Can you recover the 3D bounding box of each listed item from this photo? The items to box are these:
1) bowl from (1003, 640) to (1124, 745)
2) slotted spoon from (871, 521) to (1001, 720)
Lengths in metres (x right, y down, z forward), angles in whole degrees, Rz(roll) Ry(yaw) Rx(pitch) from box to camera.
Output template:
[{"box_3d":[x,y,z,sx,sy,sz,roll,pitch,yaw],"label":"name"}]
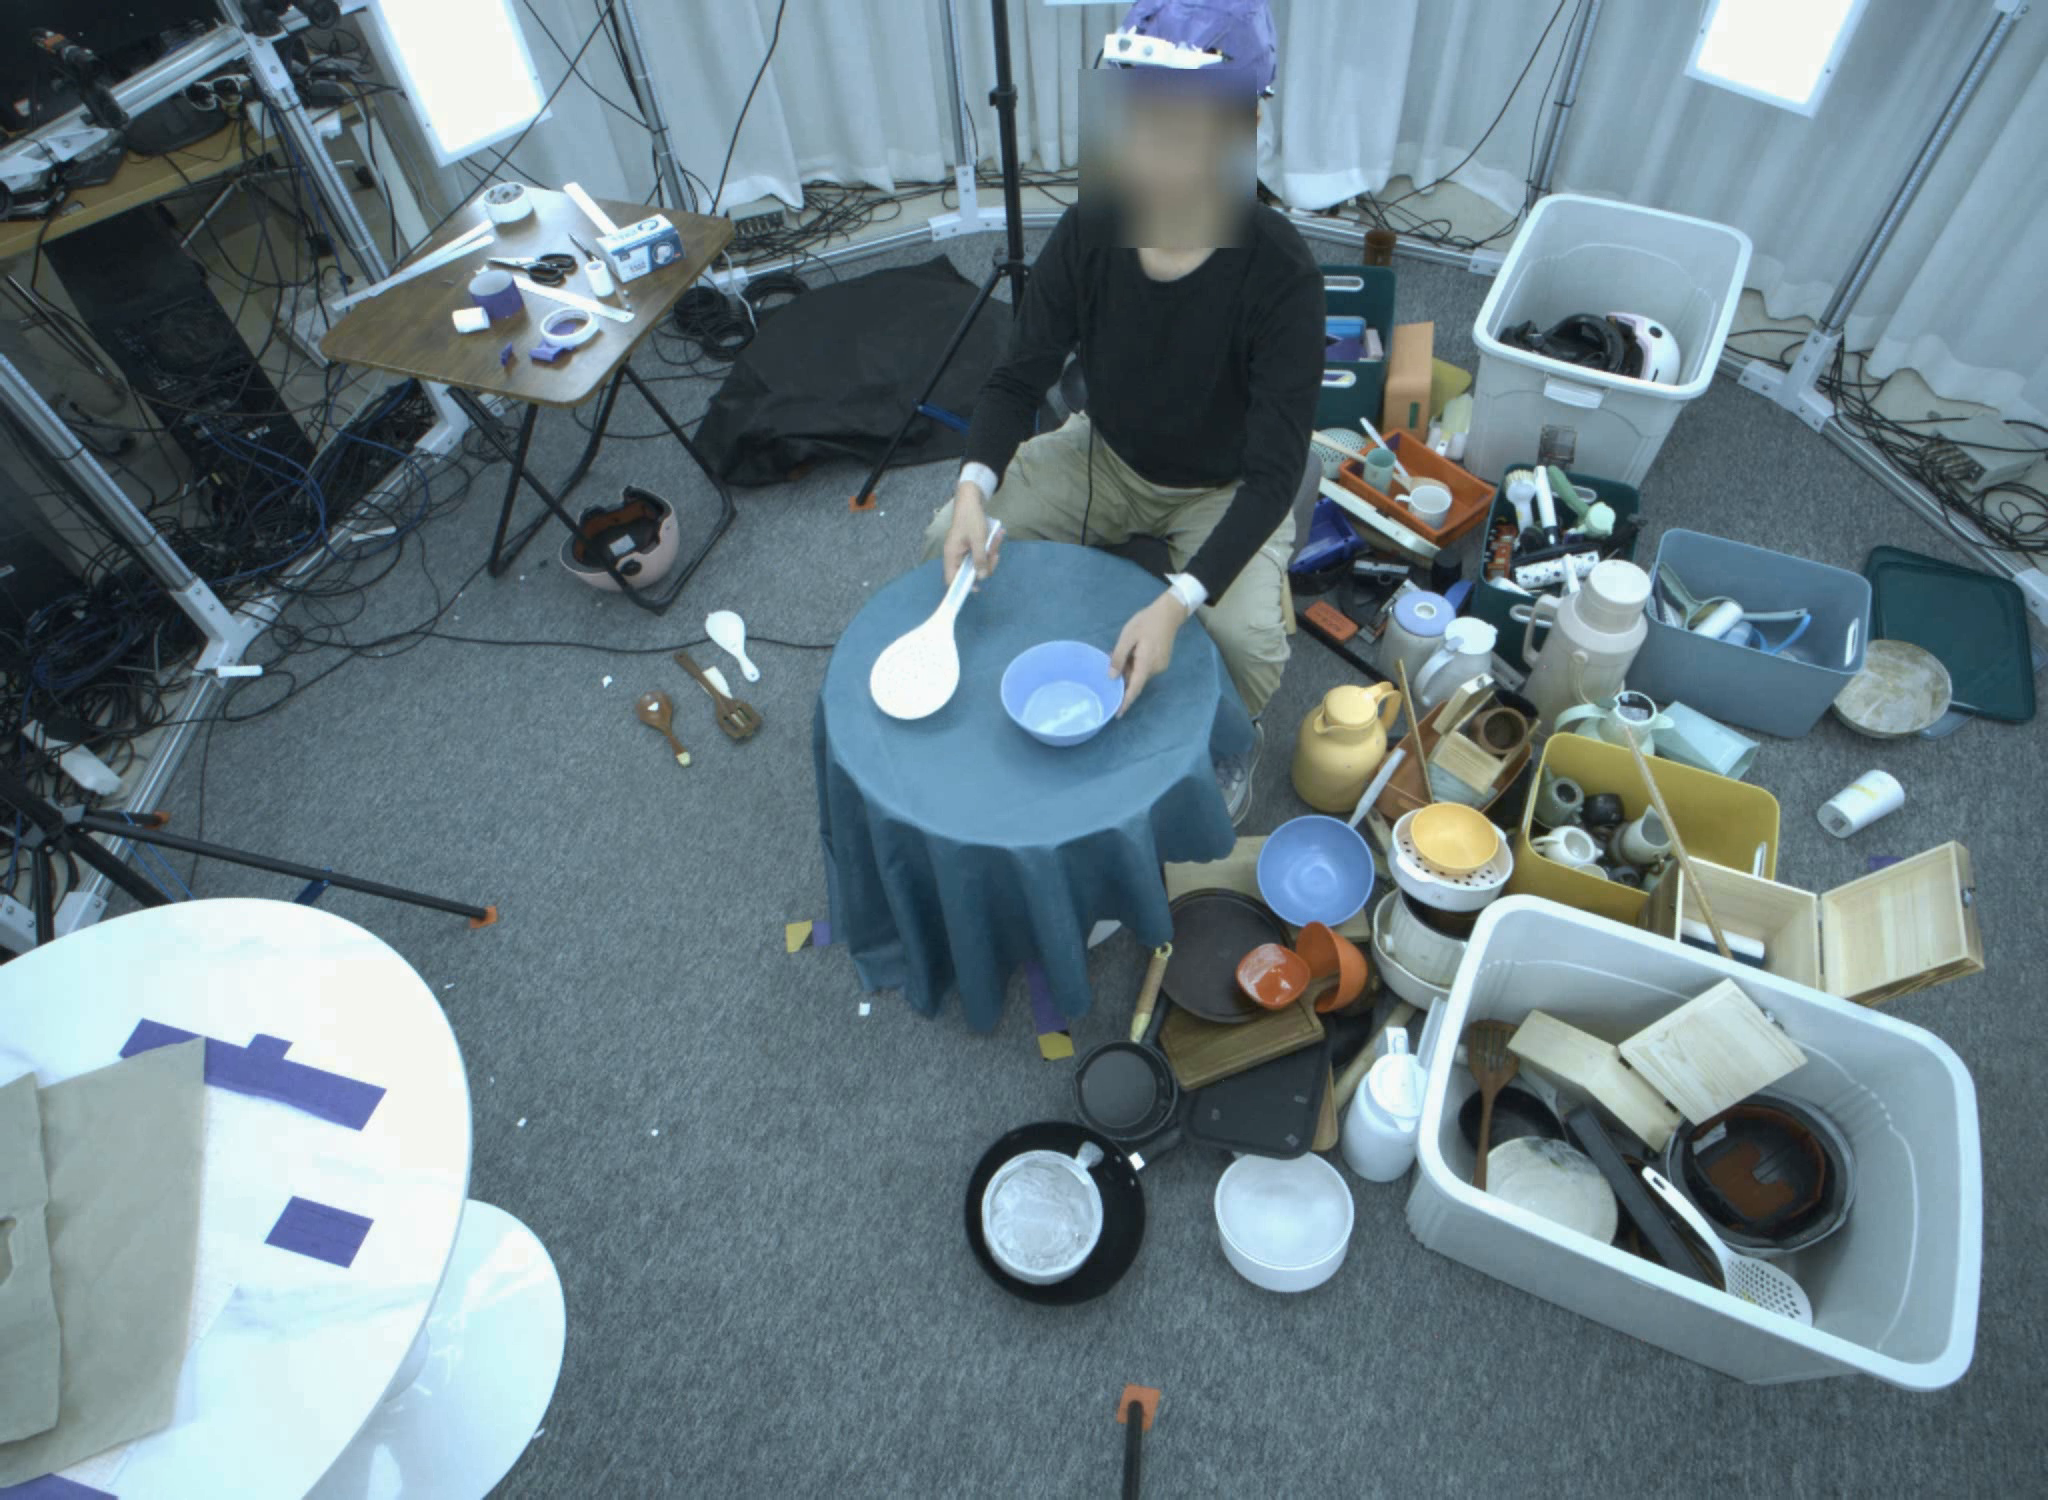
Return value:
[{"box_3d":[0.058,-0.072,1.793,0.176,0.071,0.174,0,55,1],"label":"bowl"},{"box_3d":[-0.119,-0.199,1.851,0.134,0.046,0.349,18,78,21],"label":"slotted spoon"}]
